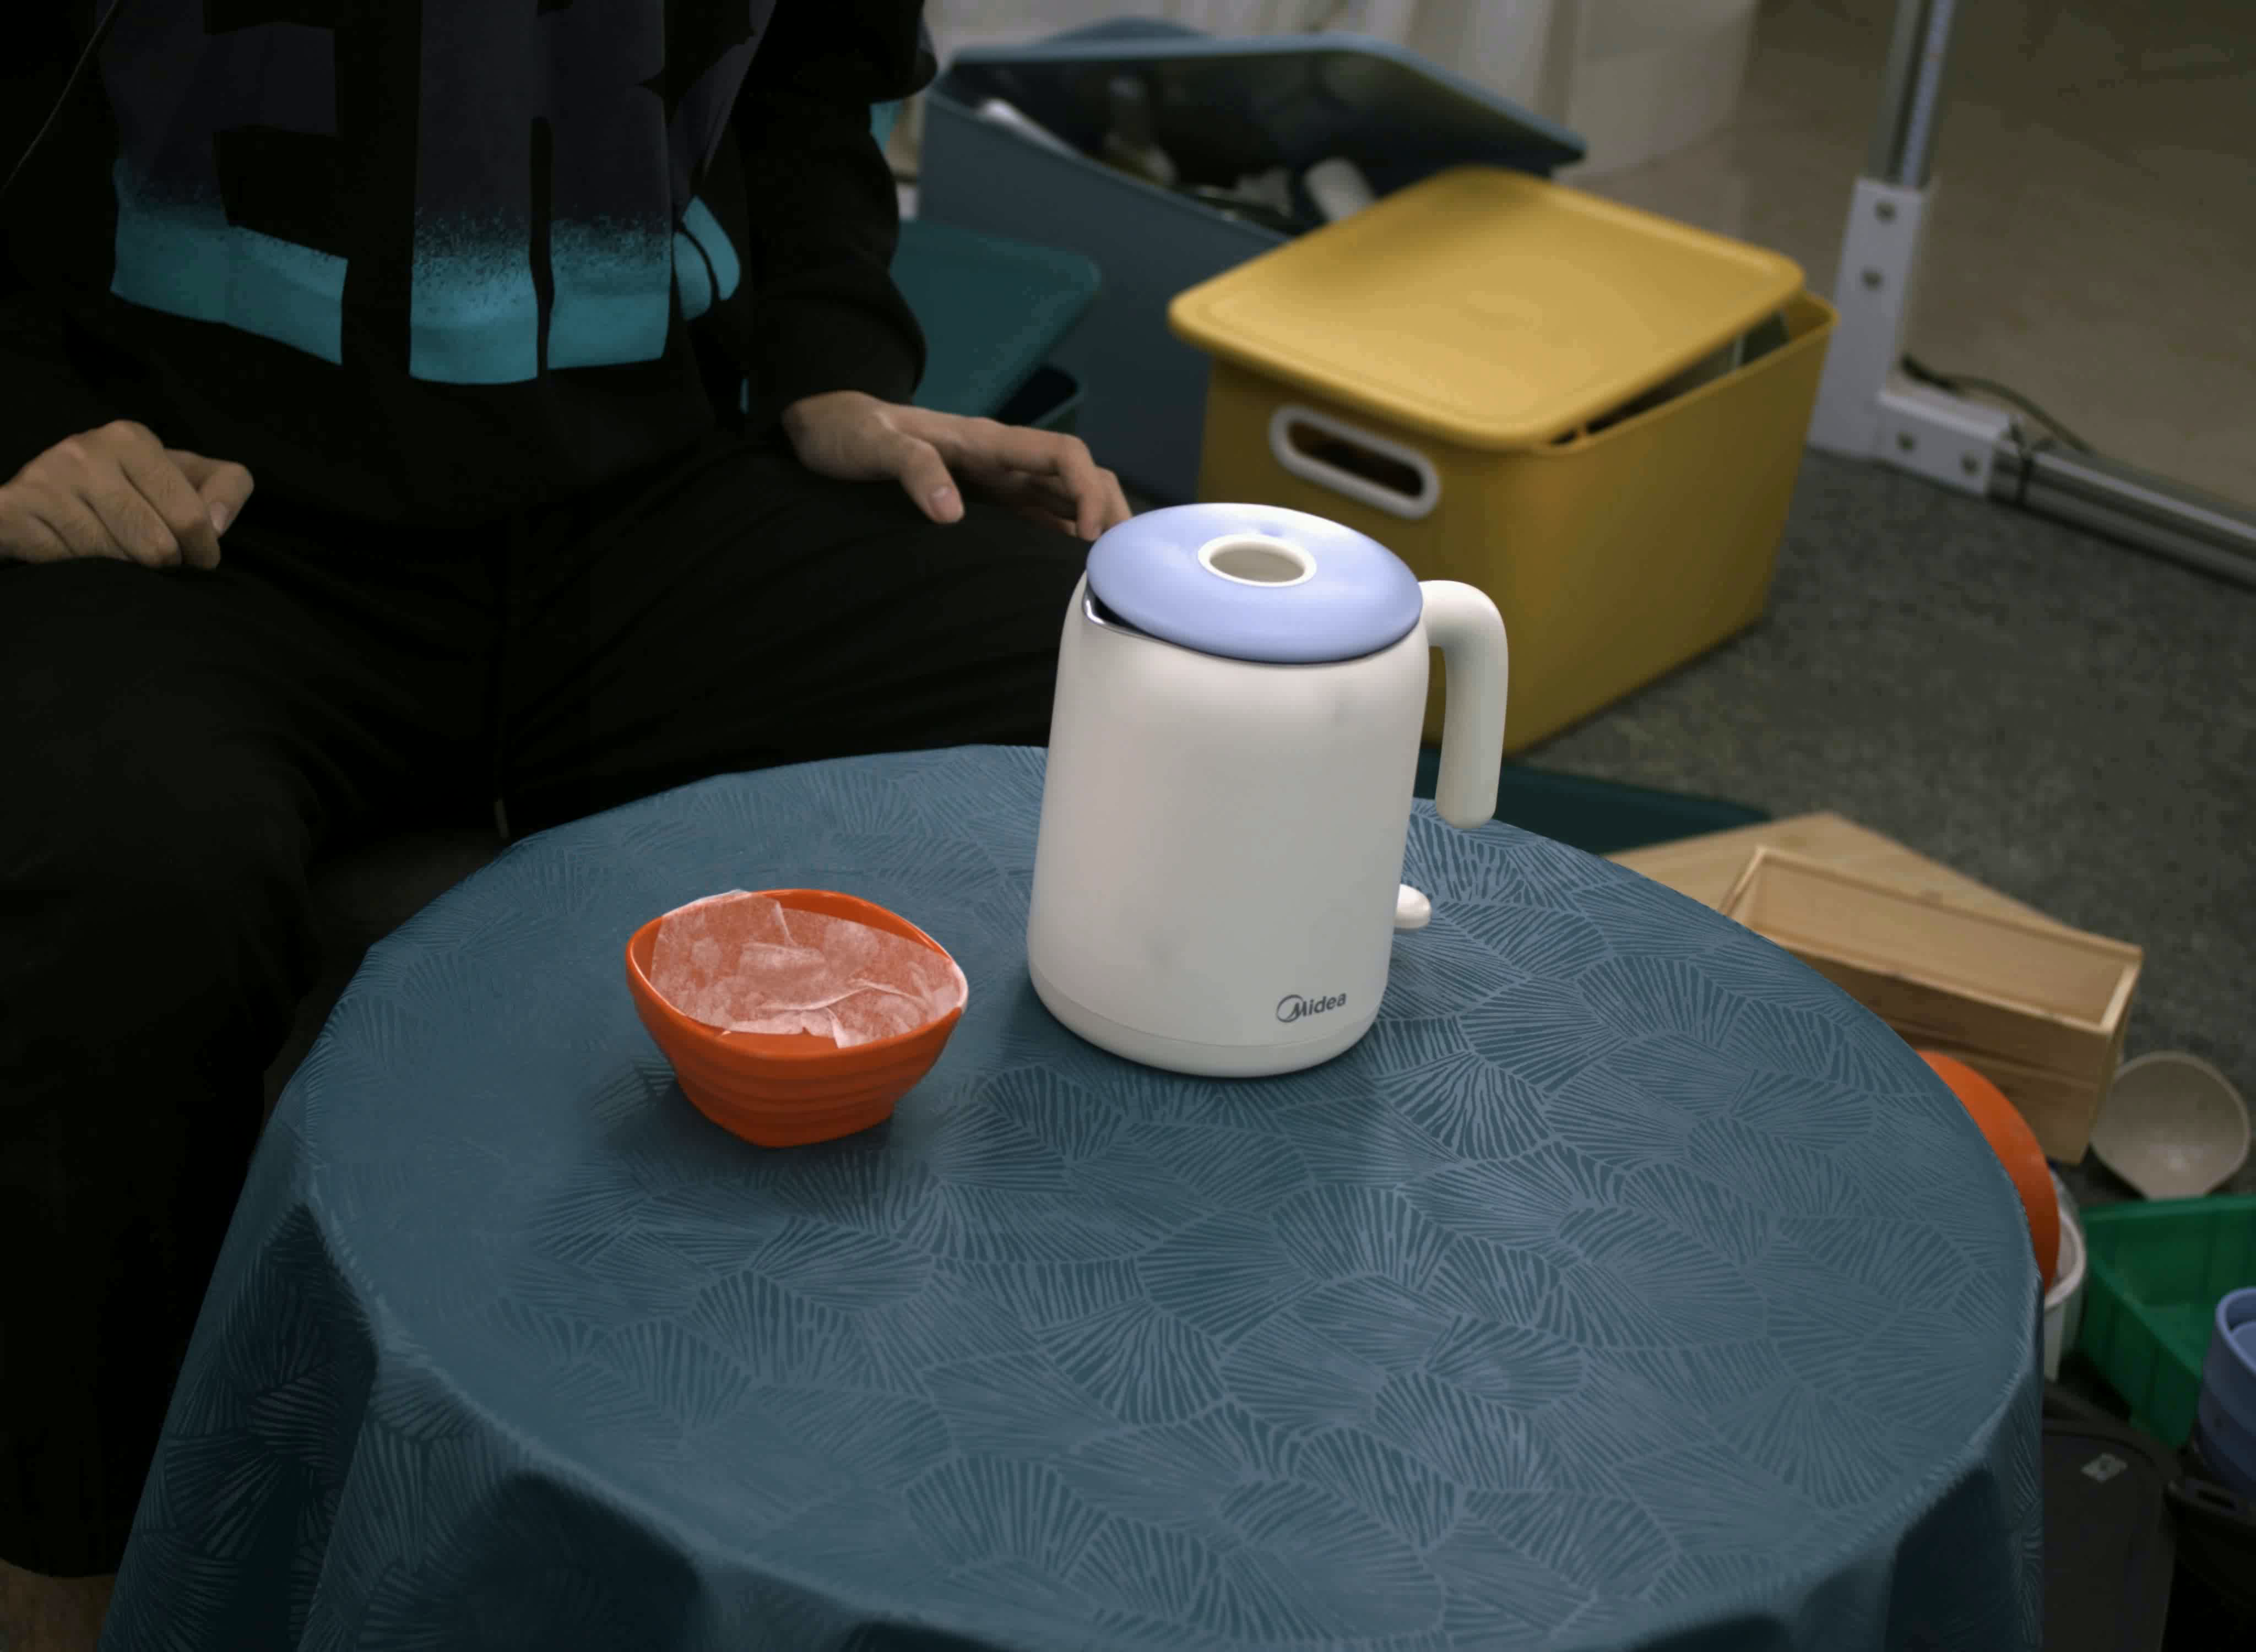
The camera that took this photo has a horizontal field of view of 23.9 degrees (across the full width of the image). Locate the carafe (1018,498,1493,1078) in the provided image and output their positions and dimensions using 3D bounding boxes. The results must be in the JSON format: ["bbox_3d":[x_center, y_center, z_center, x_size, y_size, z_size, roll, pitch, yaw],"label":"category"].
[{"bbox_3d":[0.054,-0.017,1.901,0.190,0.182,0.133,-10,32,-34],"label":"carafe"}]

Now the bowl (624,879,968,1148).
[{"bbox_3d":[-0.115,0.069,1.822,0.118,0.051,0.120,5,30,-3],"label":"bowl"}]
